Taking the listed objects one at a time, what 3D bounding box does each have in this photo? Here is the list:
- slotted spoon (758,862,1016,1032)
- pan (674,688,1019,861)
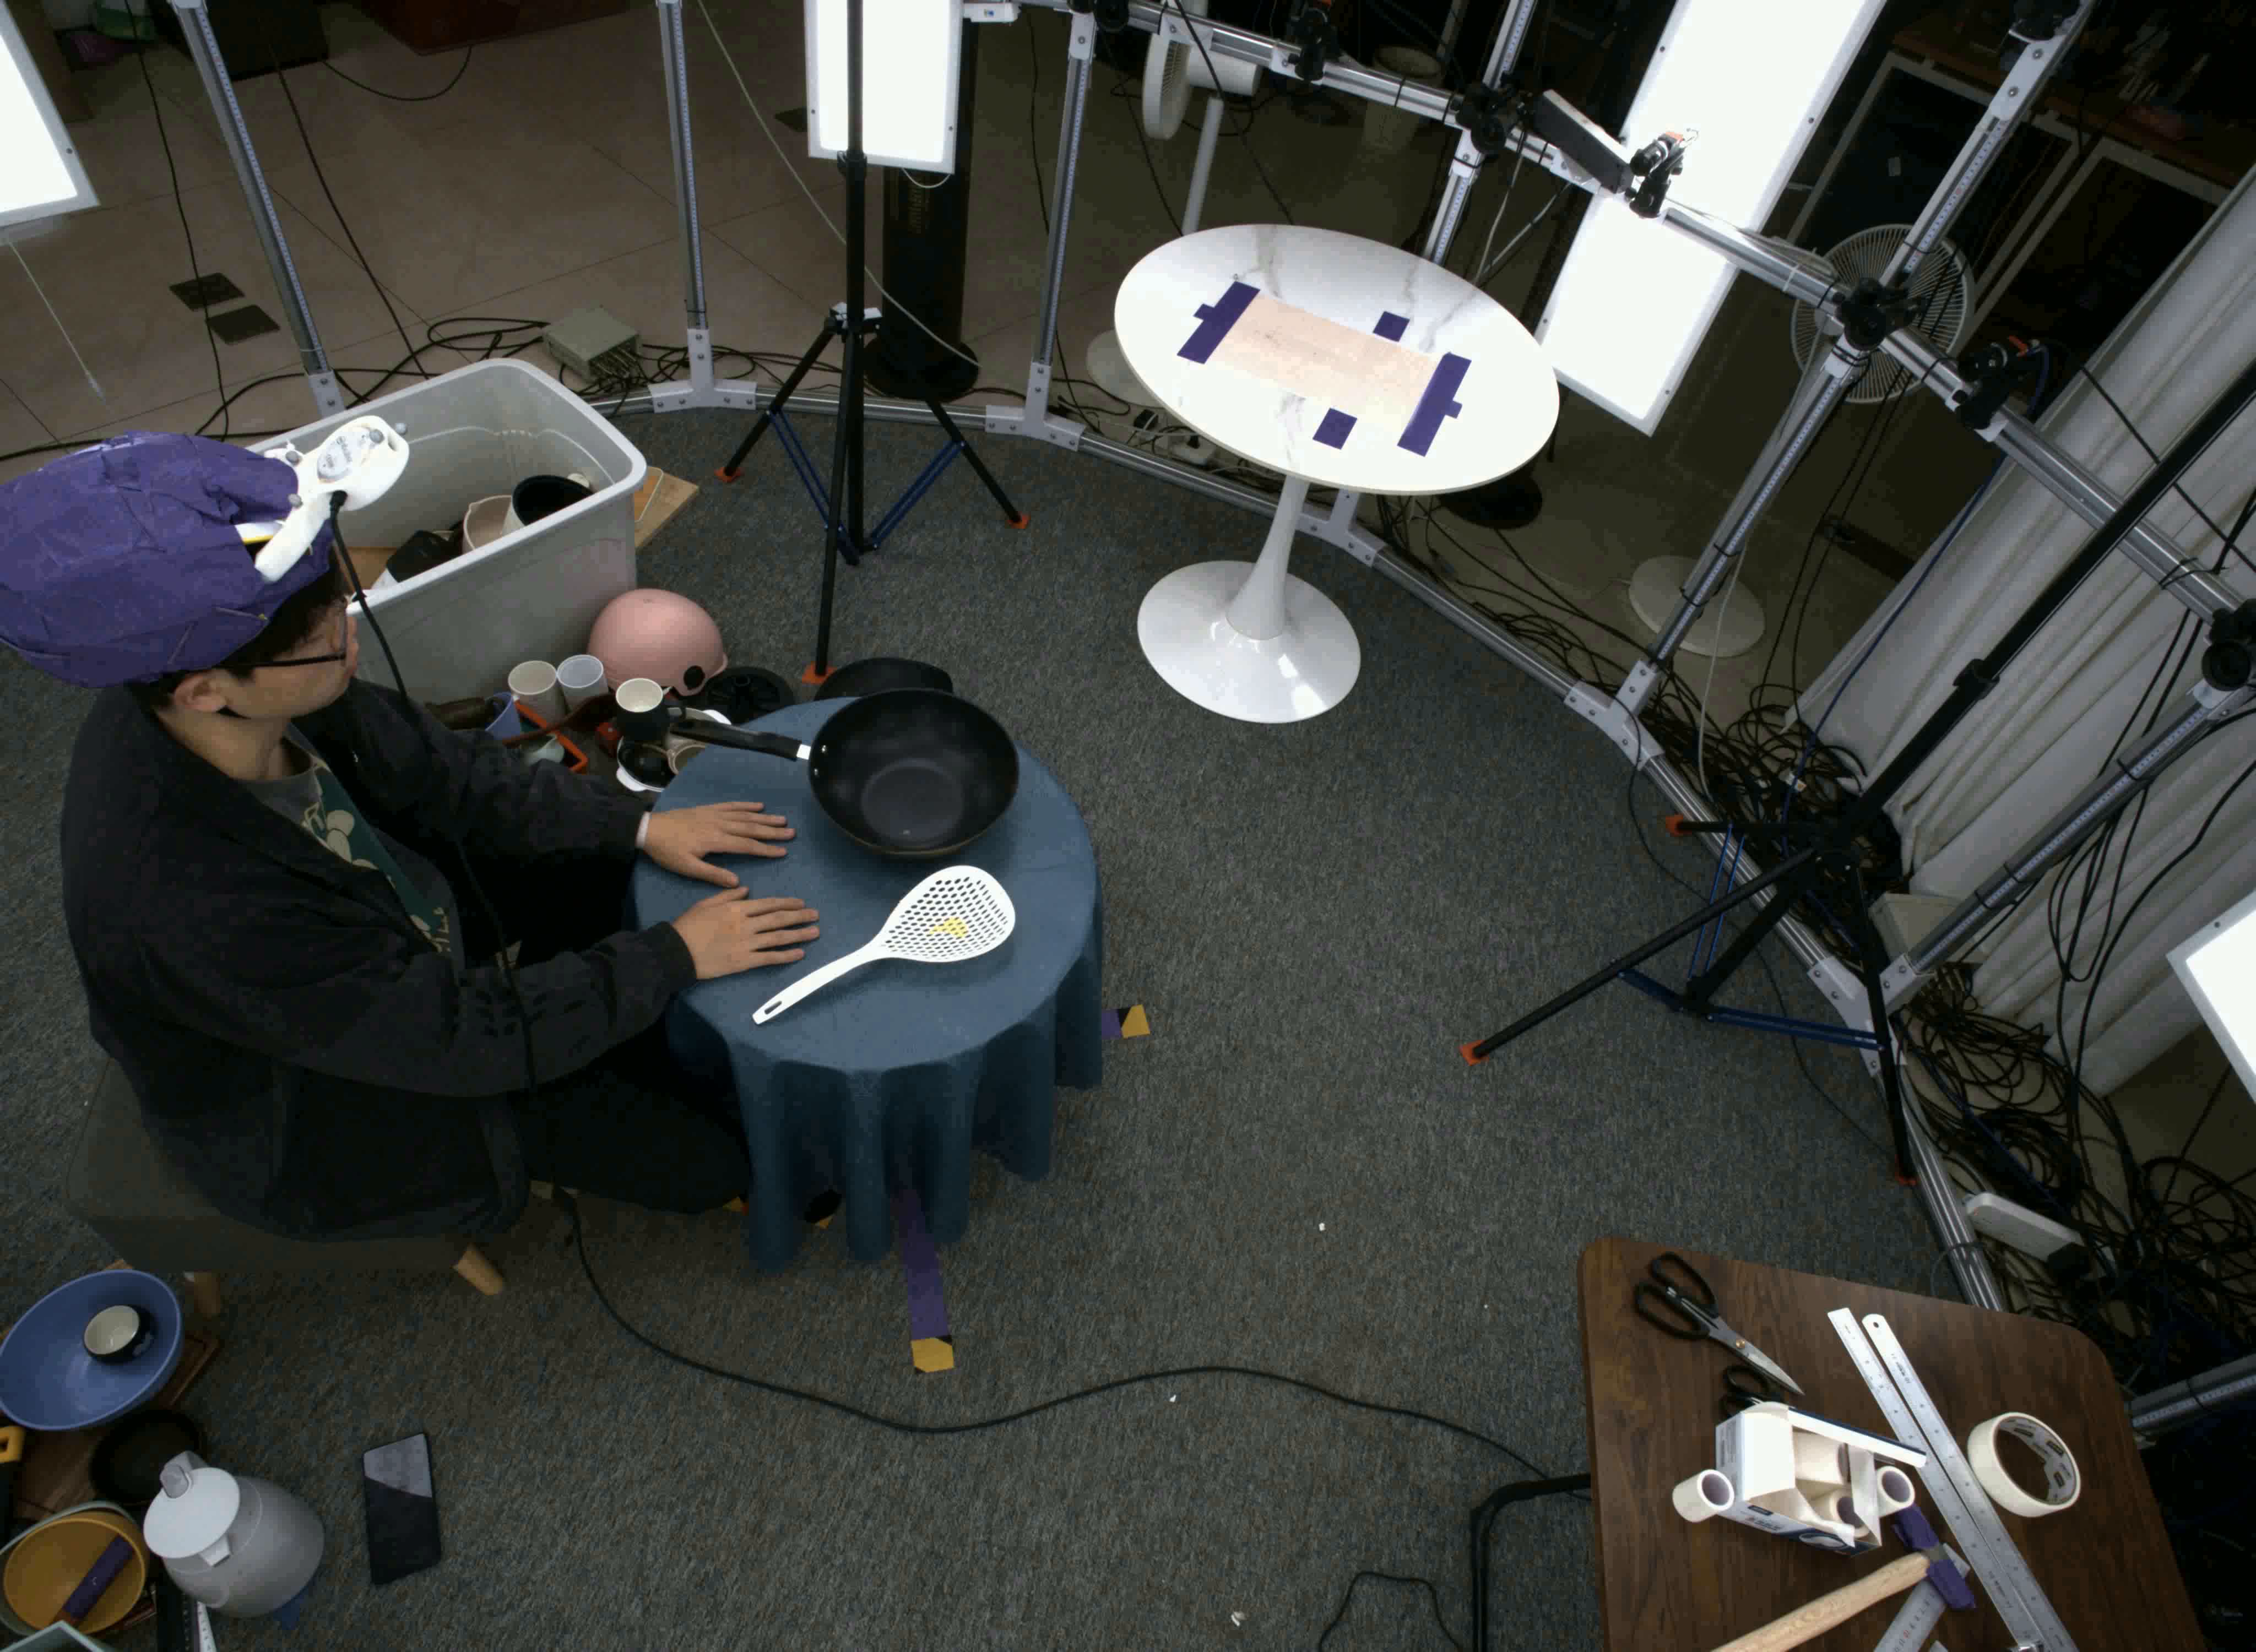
[{"bbox_3d":[-0.301,0.156,1.613,0.349,0.051,0.133,-24,65,-28],"label":"slotted spoon"},{"bbox_3d":[-0.377,-0.071,1.737,0.461,0.089,0.283,9,52,-5],"label":"pan"}]
